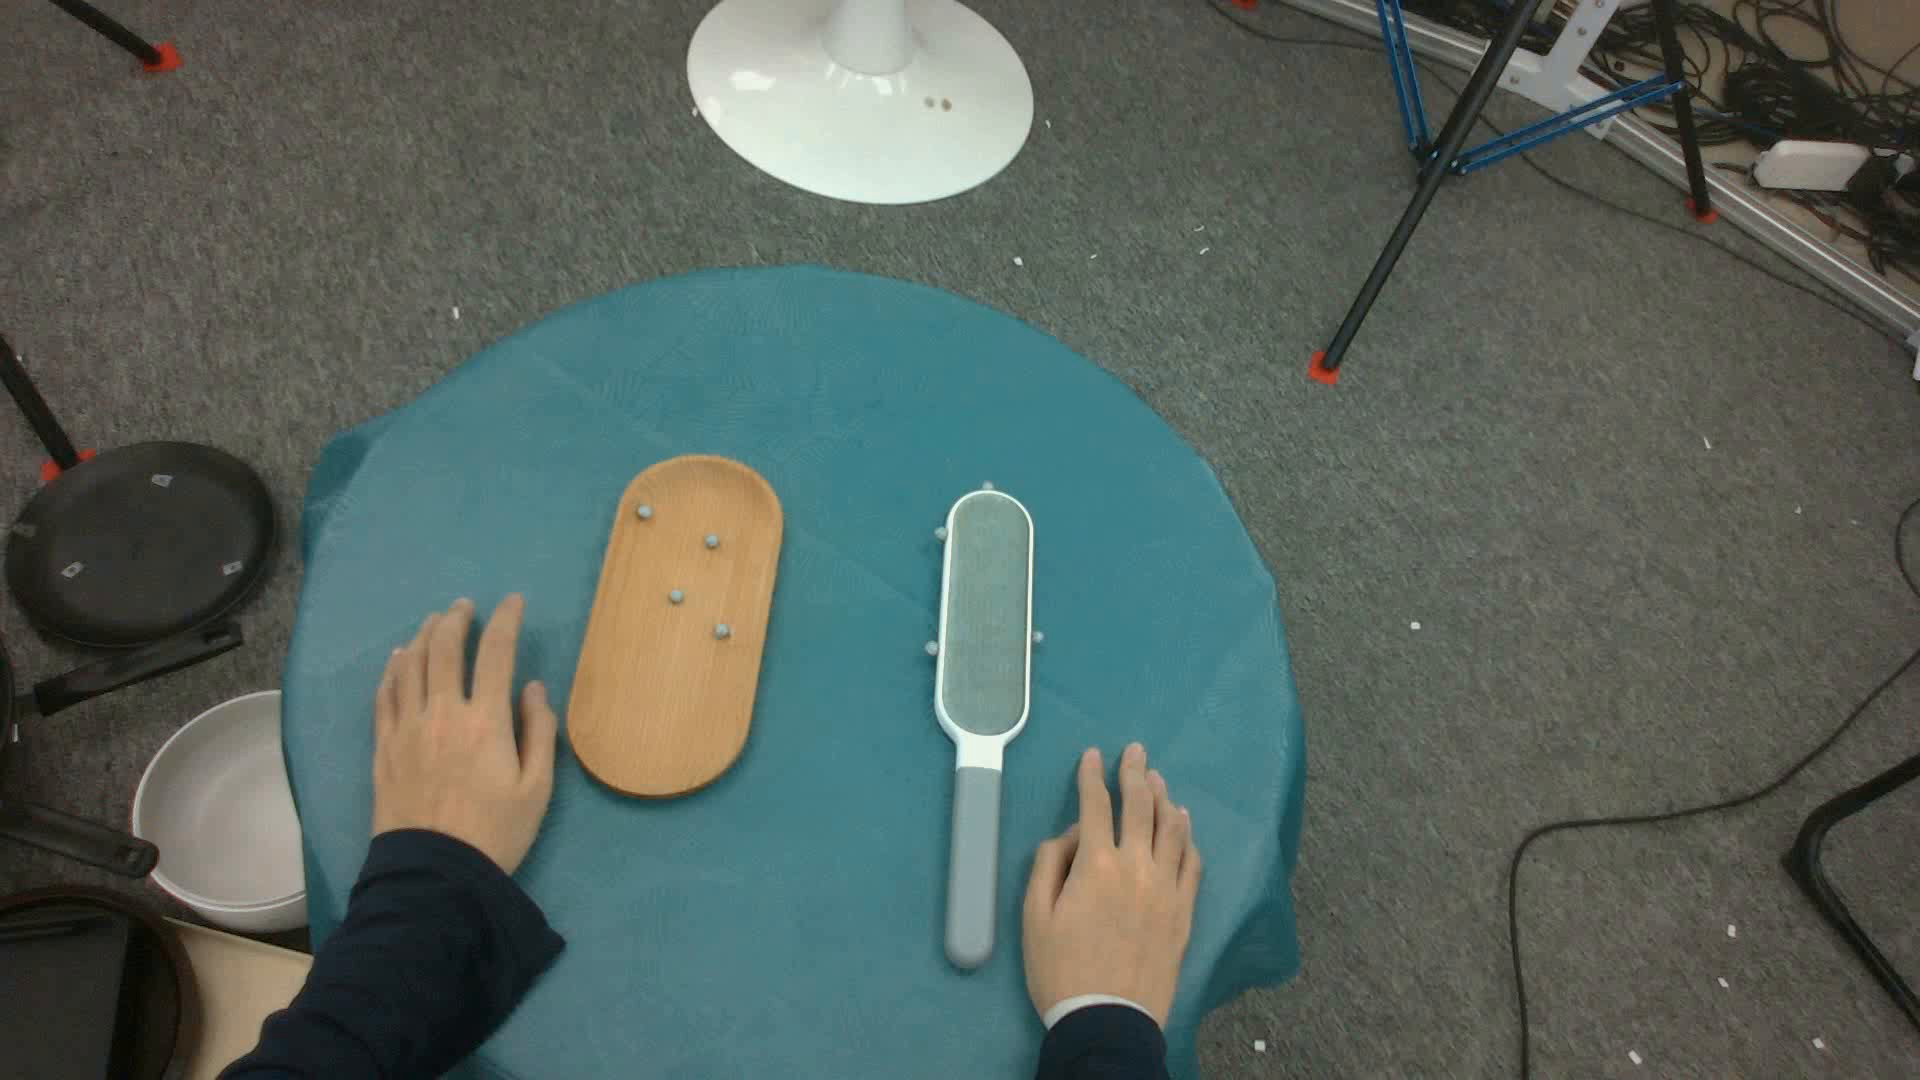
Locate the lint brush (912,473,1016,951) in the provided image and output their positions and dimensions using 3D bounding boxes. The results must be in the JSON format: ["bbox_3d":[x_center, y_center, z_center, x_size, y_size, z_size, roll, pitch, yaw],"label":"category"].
[{"bbox_3d":[0.000,0.087,0.812,0.060,0.021,0.310,11,56,-12],"label":"lint brush"}]

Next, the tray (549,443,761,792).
[{"bbox_3d":[-0.176,0.039,0.811,0.102,0.020,0.232,7,58,-6],"label":"tray"}]
